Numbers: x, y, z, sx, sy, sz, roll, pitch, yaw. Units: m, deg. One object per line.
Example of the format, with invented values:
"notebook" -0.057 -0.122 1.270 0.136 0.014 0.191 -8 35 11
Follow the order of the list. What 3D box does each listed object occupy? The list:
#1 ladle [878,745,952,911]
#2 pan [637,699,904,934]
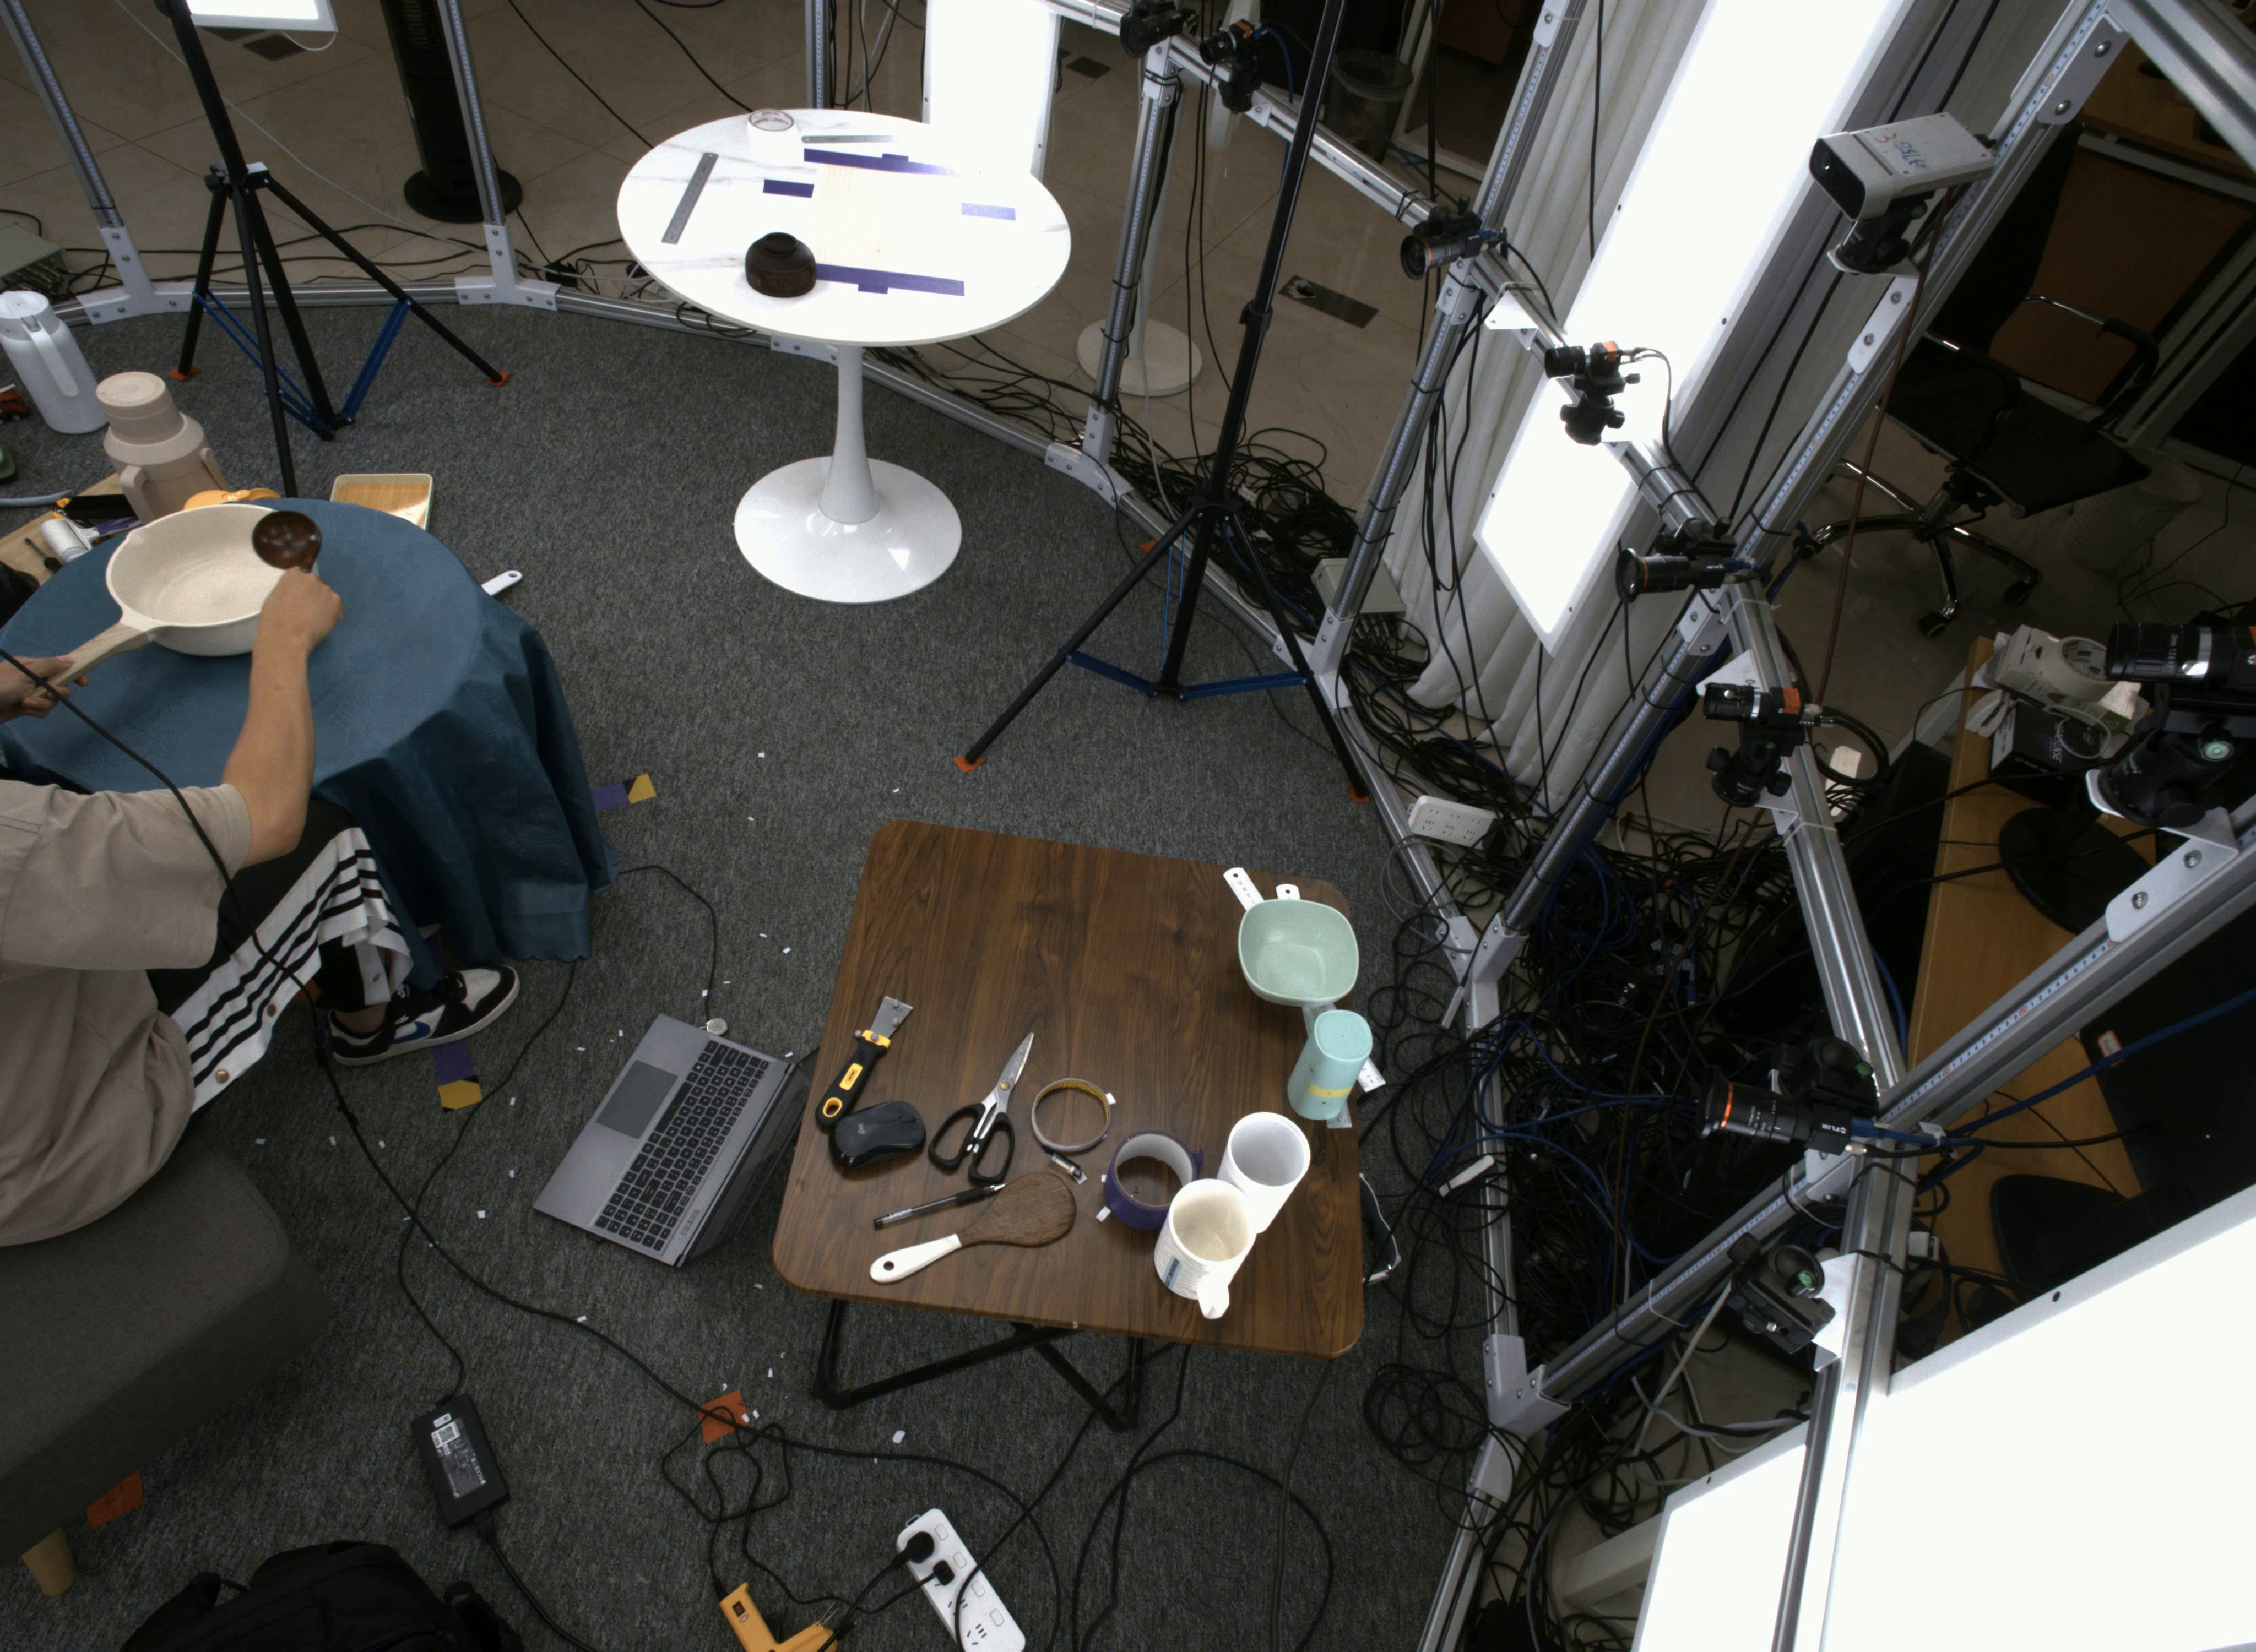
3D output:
"ladle" -0.236 -0.008 1.494 0.081 0.079 0.265 -20 32 -5
"pan" -0.463 0.006 1.657 0.259 0.104 0.434 33 54 10
